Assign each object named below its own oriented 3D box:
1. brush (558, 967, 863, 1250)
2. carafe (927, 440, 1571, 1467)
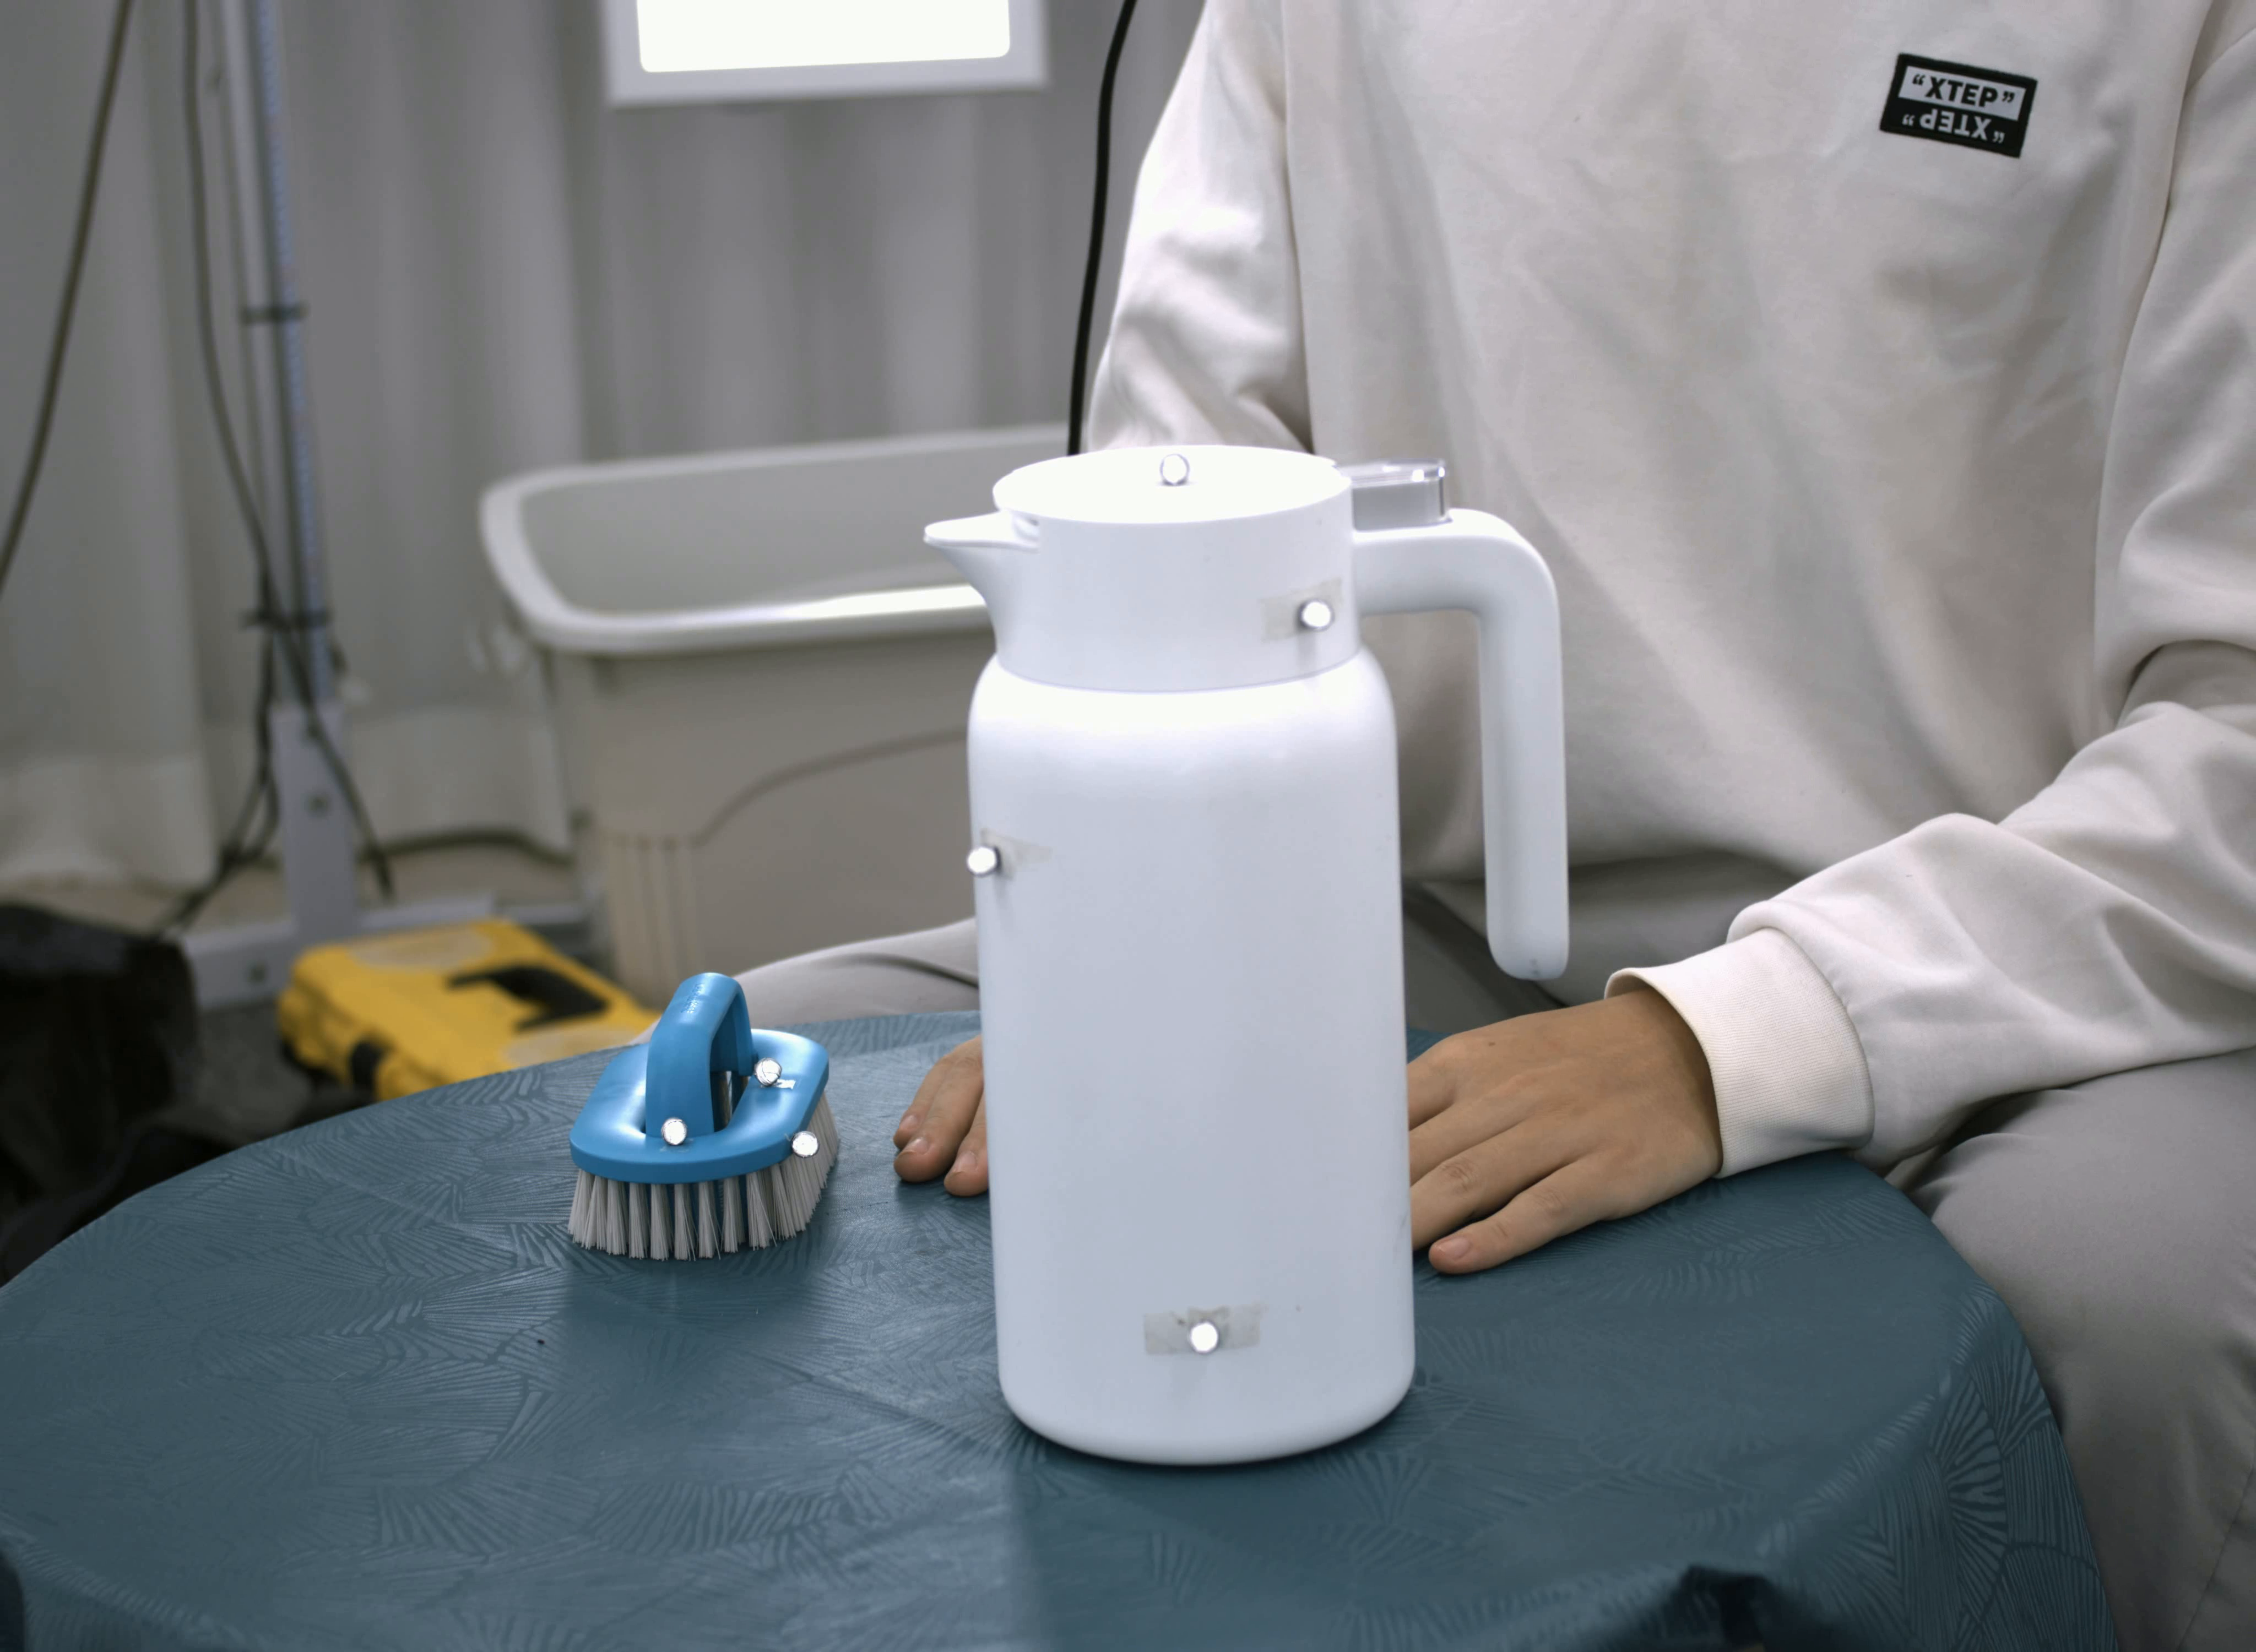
[{"bbox_3d":[-0.134,0.083,1.732,0.084,0.063,0.142,-6,13,8],"label":"brush"},{"bbox_3d":[0.035,0.032,1.508,0.172,0.268,0.124,-4,12,-8],"label":"carafe"}]
